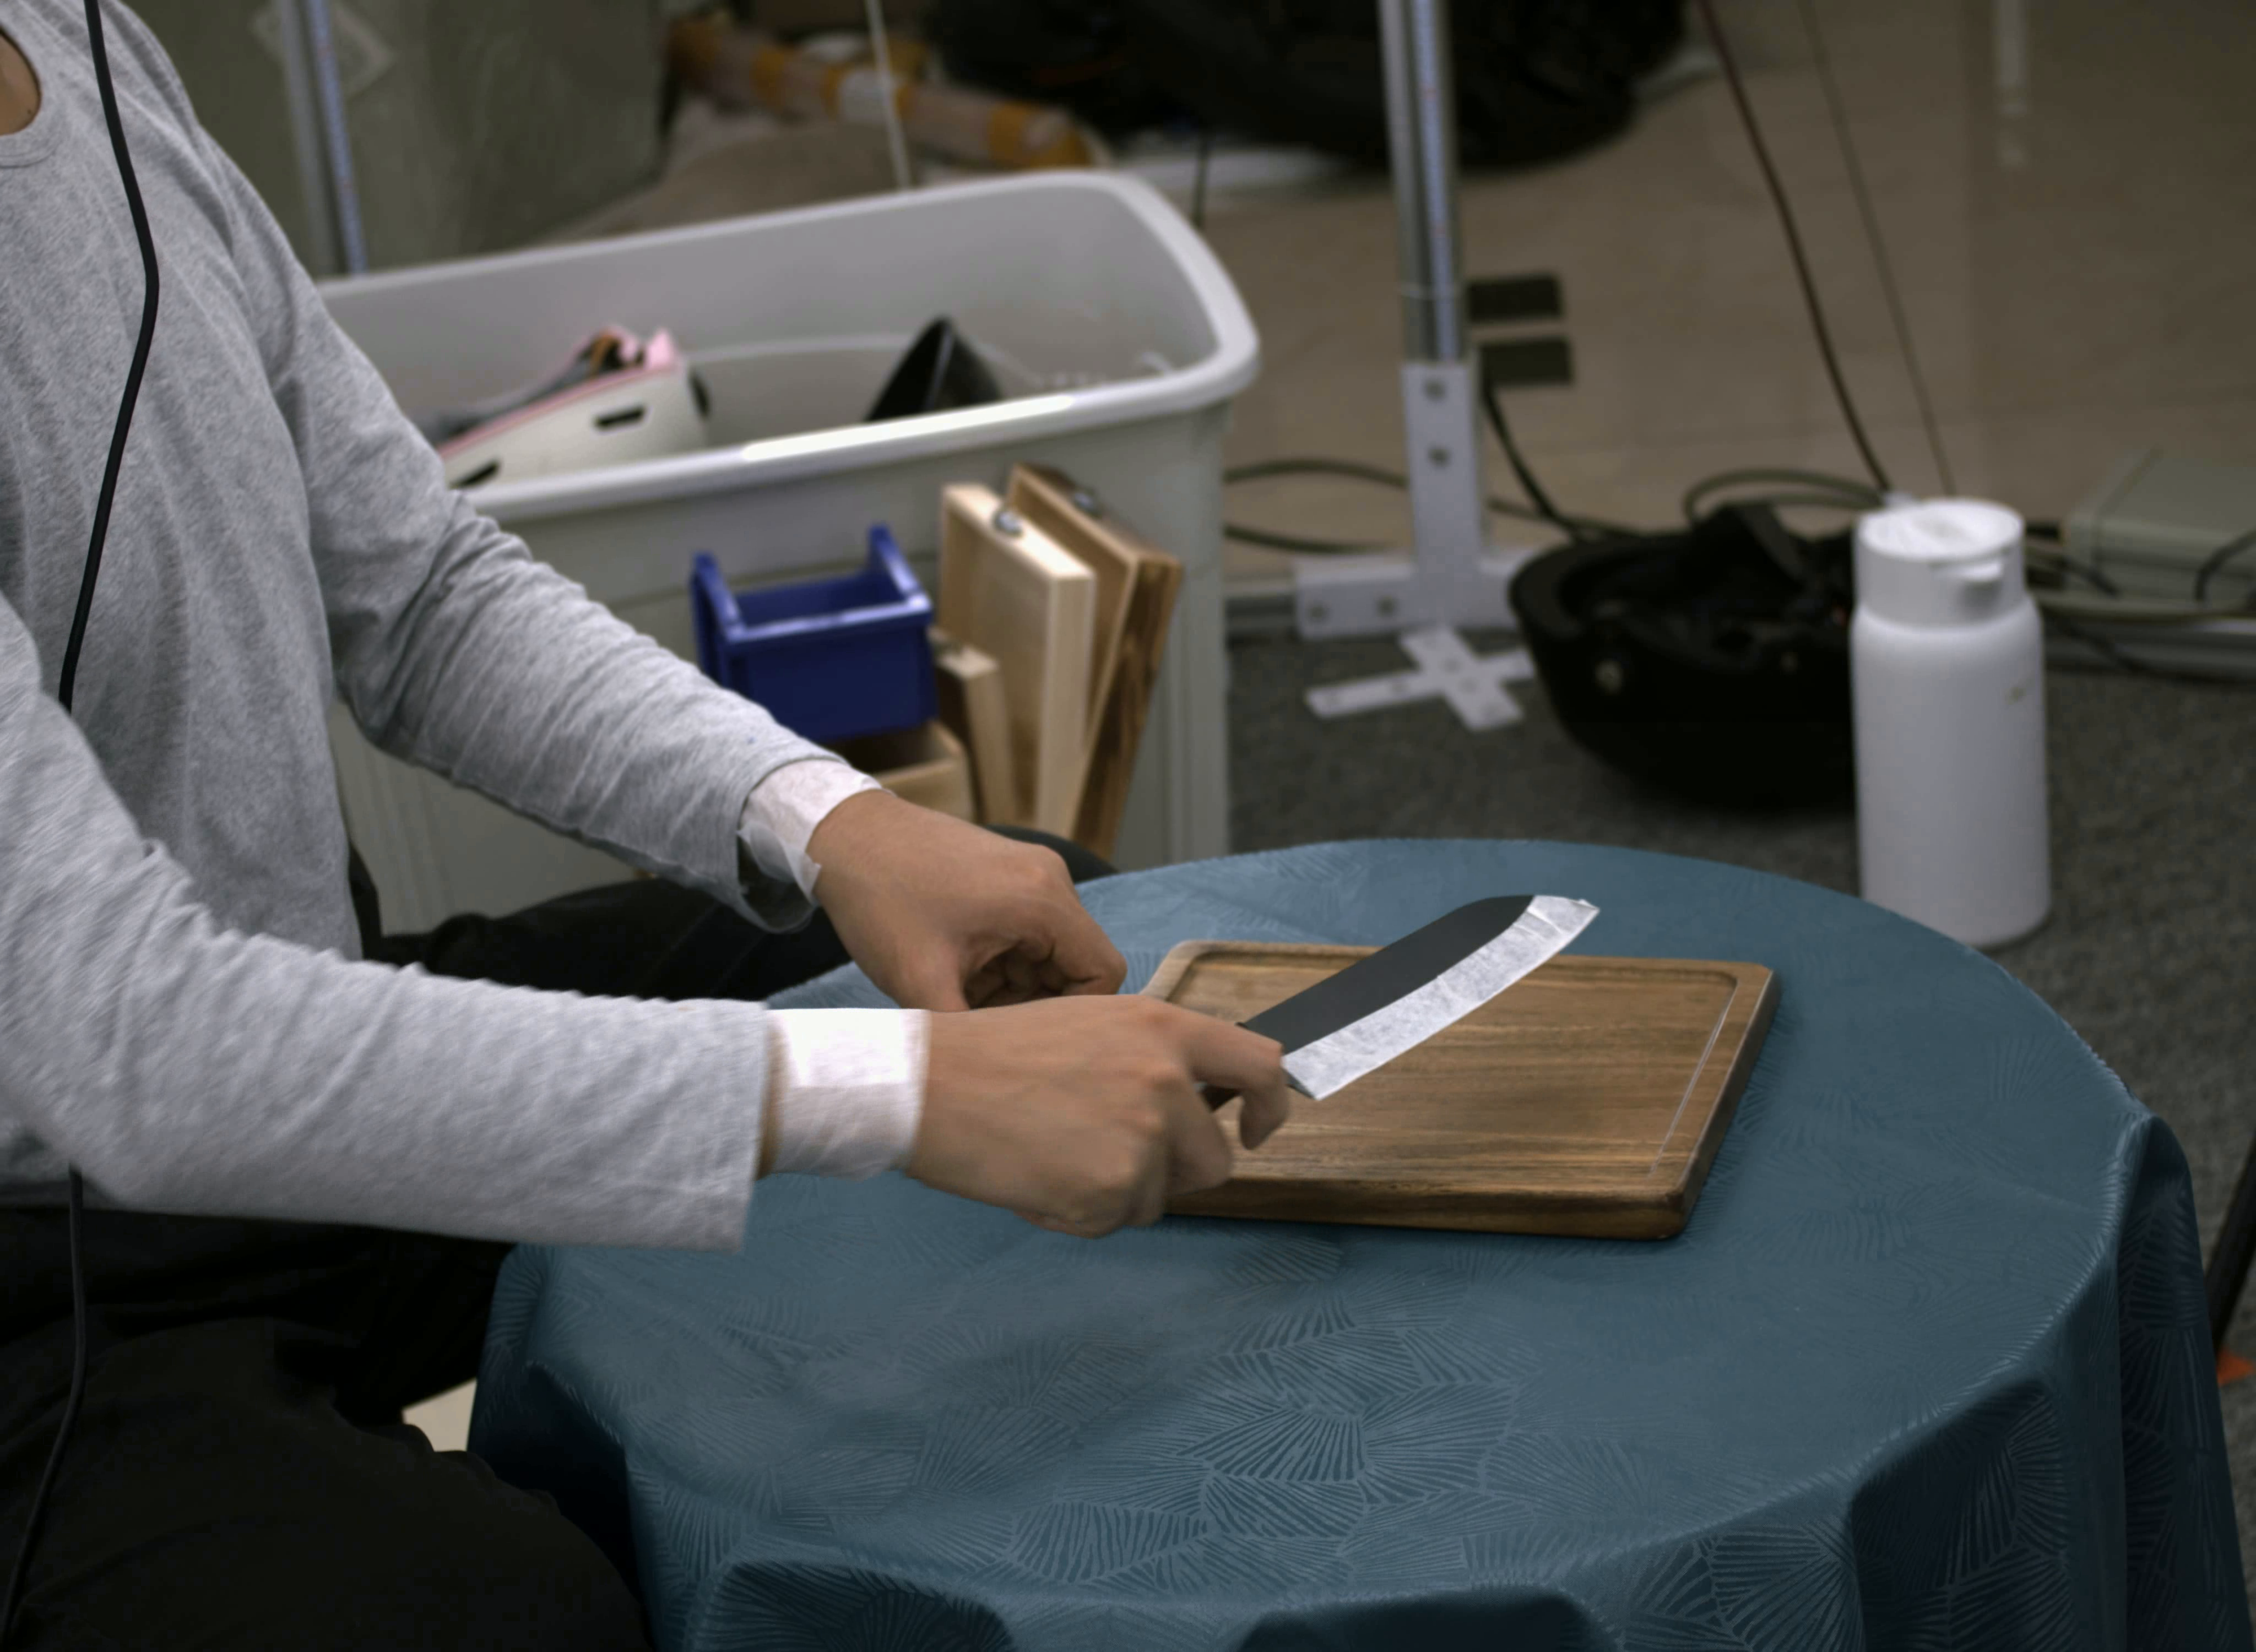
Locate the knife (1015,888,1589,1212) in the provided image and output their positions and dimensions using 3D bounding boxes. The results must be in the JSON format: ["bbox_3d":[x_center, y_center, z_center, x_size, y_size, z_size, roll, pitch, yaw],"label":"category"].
[{"bbox_3d":[0.069,0.077,2.068,0.287,0.020,0.050,-25,57,-37],"label":"knife"}]

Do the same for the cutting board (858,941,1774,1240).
[{"bbox_3d":[0.062,0.097,2.202,0.351,0.023,0.198,2,26,18],"label":"cutting board"}]
